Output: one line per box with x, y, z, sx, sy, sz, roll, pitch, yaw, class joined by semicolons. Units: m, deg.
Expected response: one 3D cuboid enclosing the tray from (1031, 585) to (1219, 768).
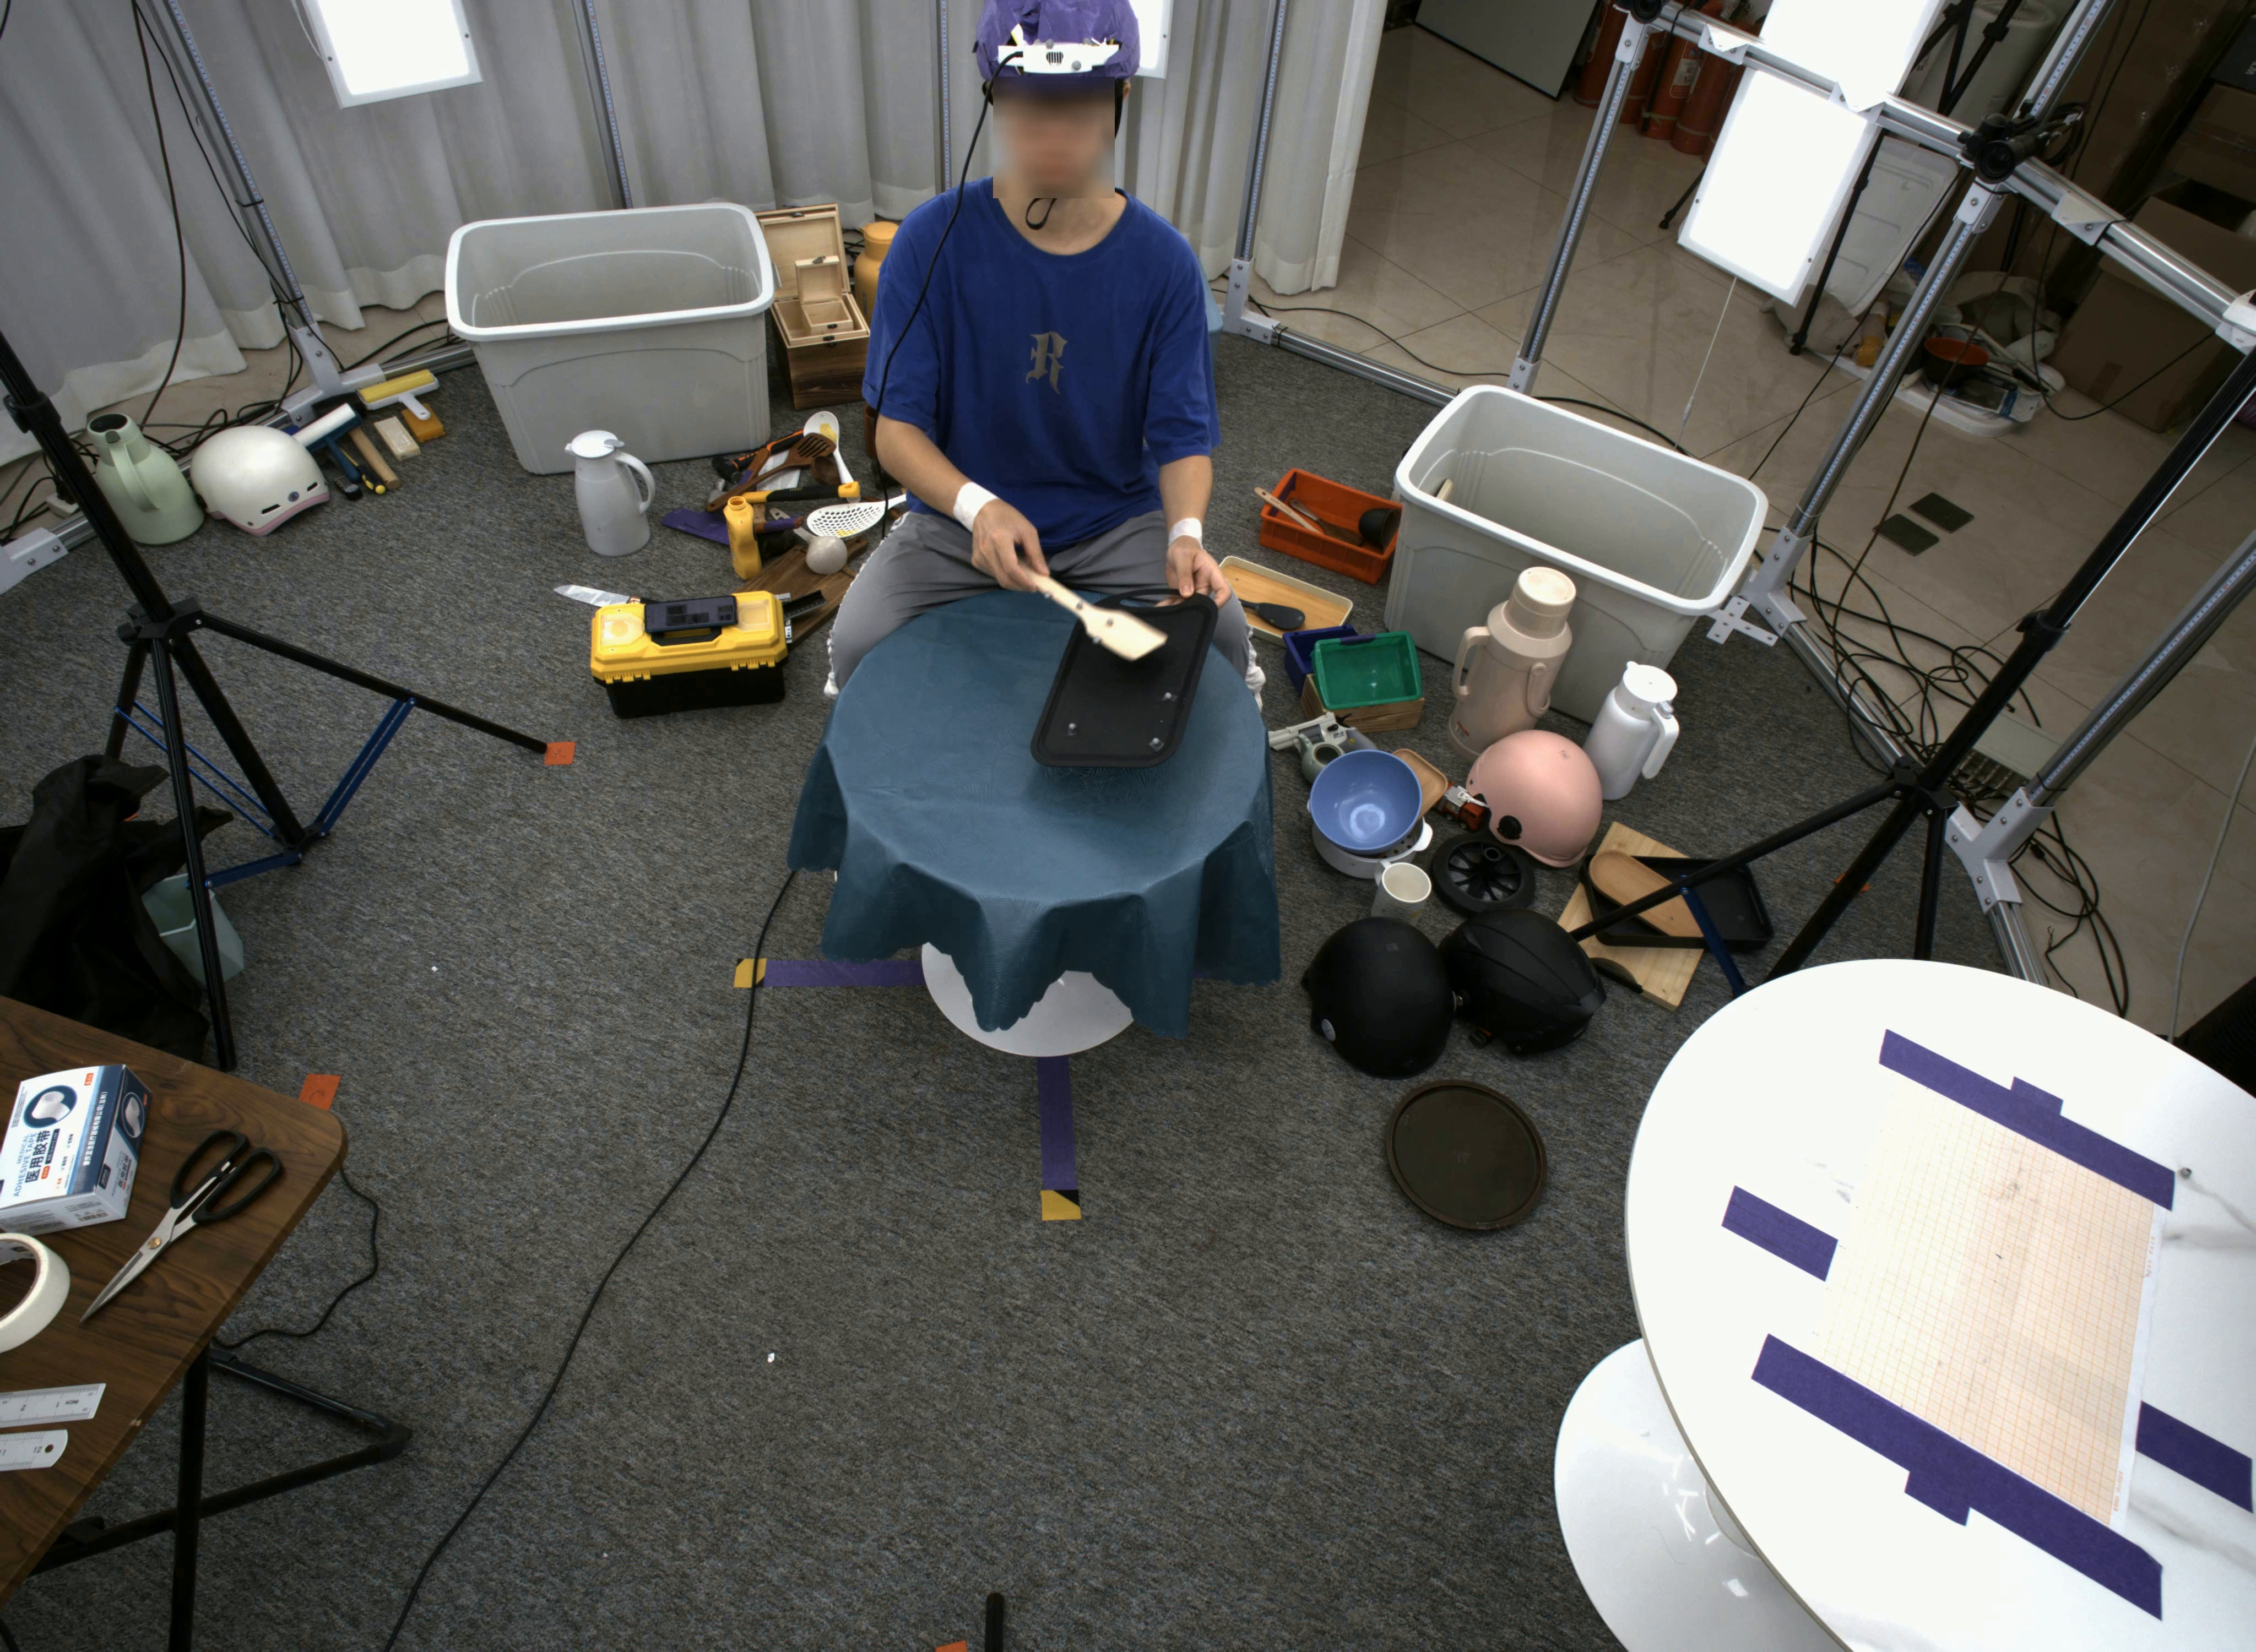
-0.001;-0.208;1.718;0.212;0.009;0.332;2;54;24;tray

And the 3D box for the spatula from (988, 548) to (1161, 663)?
-0.084;-0.304;1.744;0.297;0.010;0.073;37;46;24;spatula
